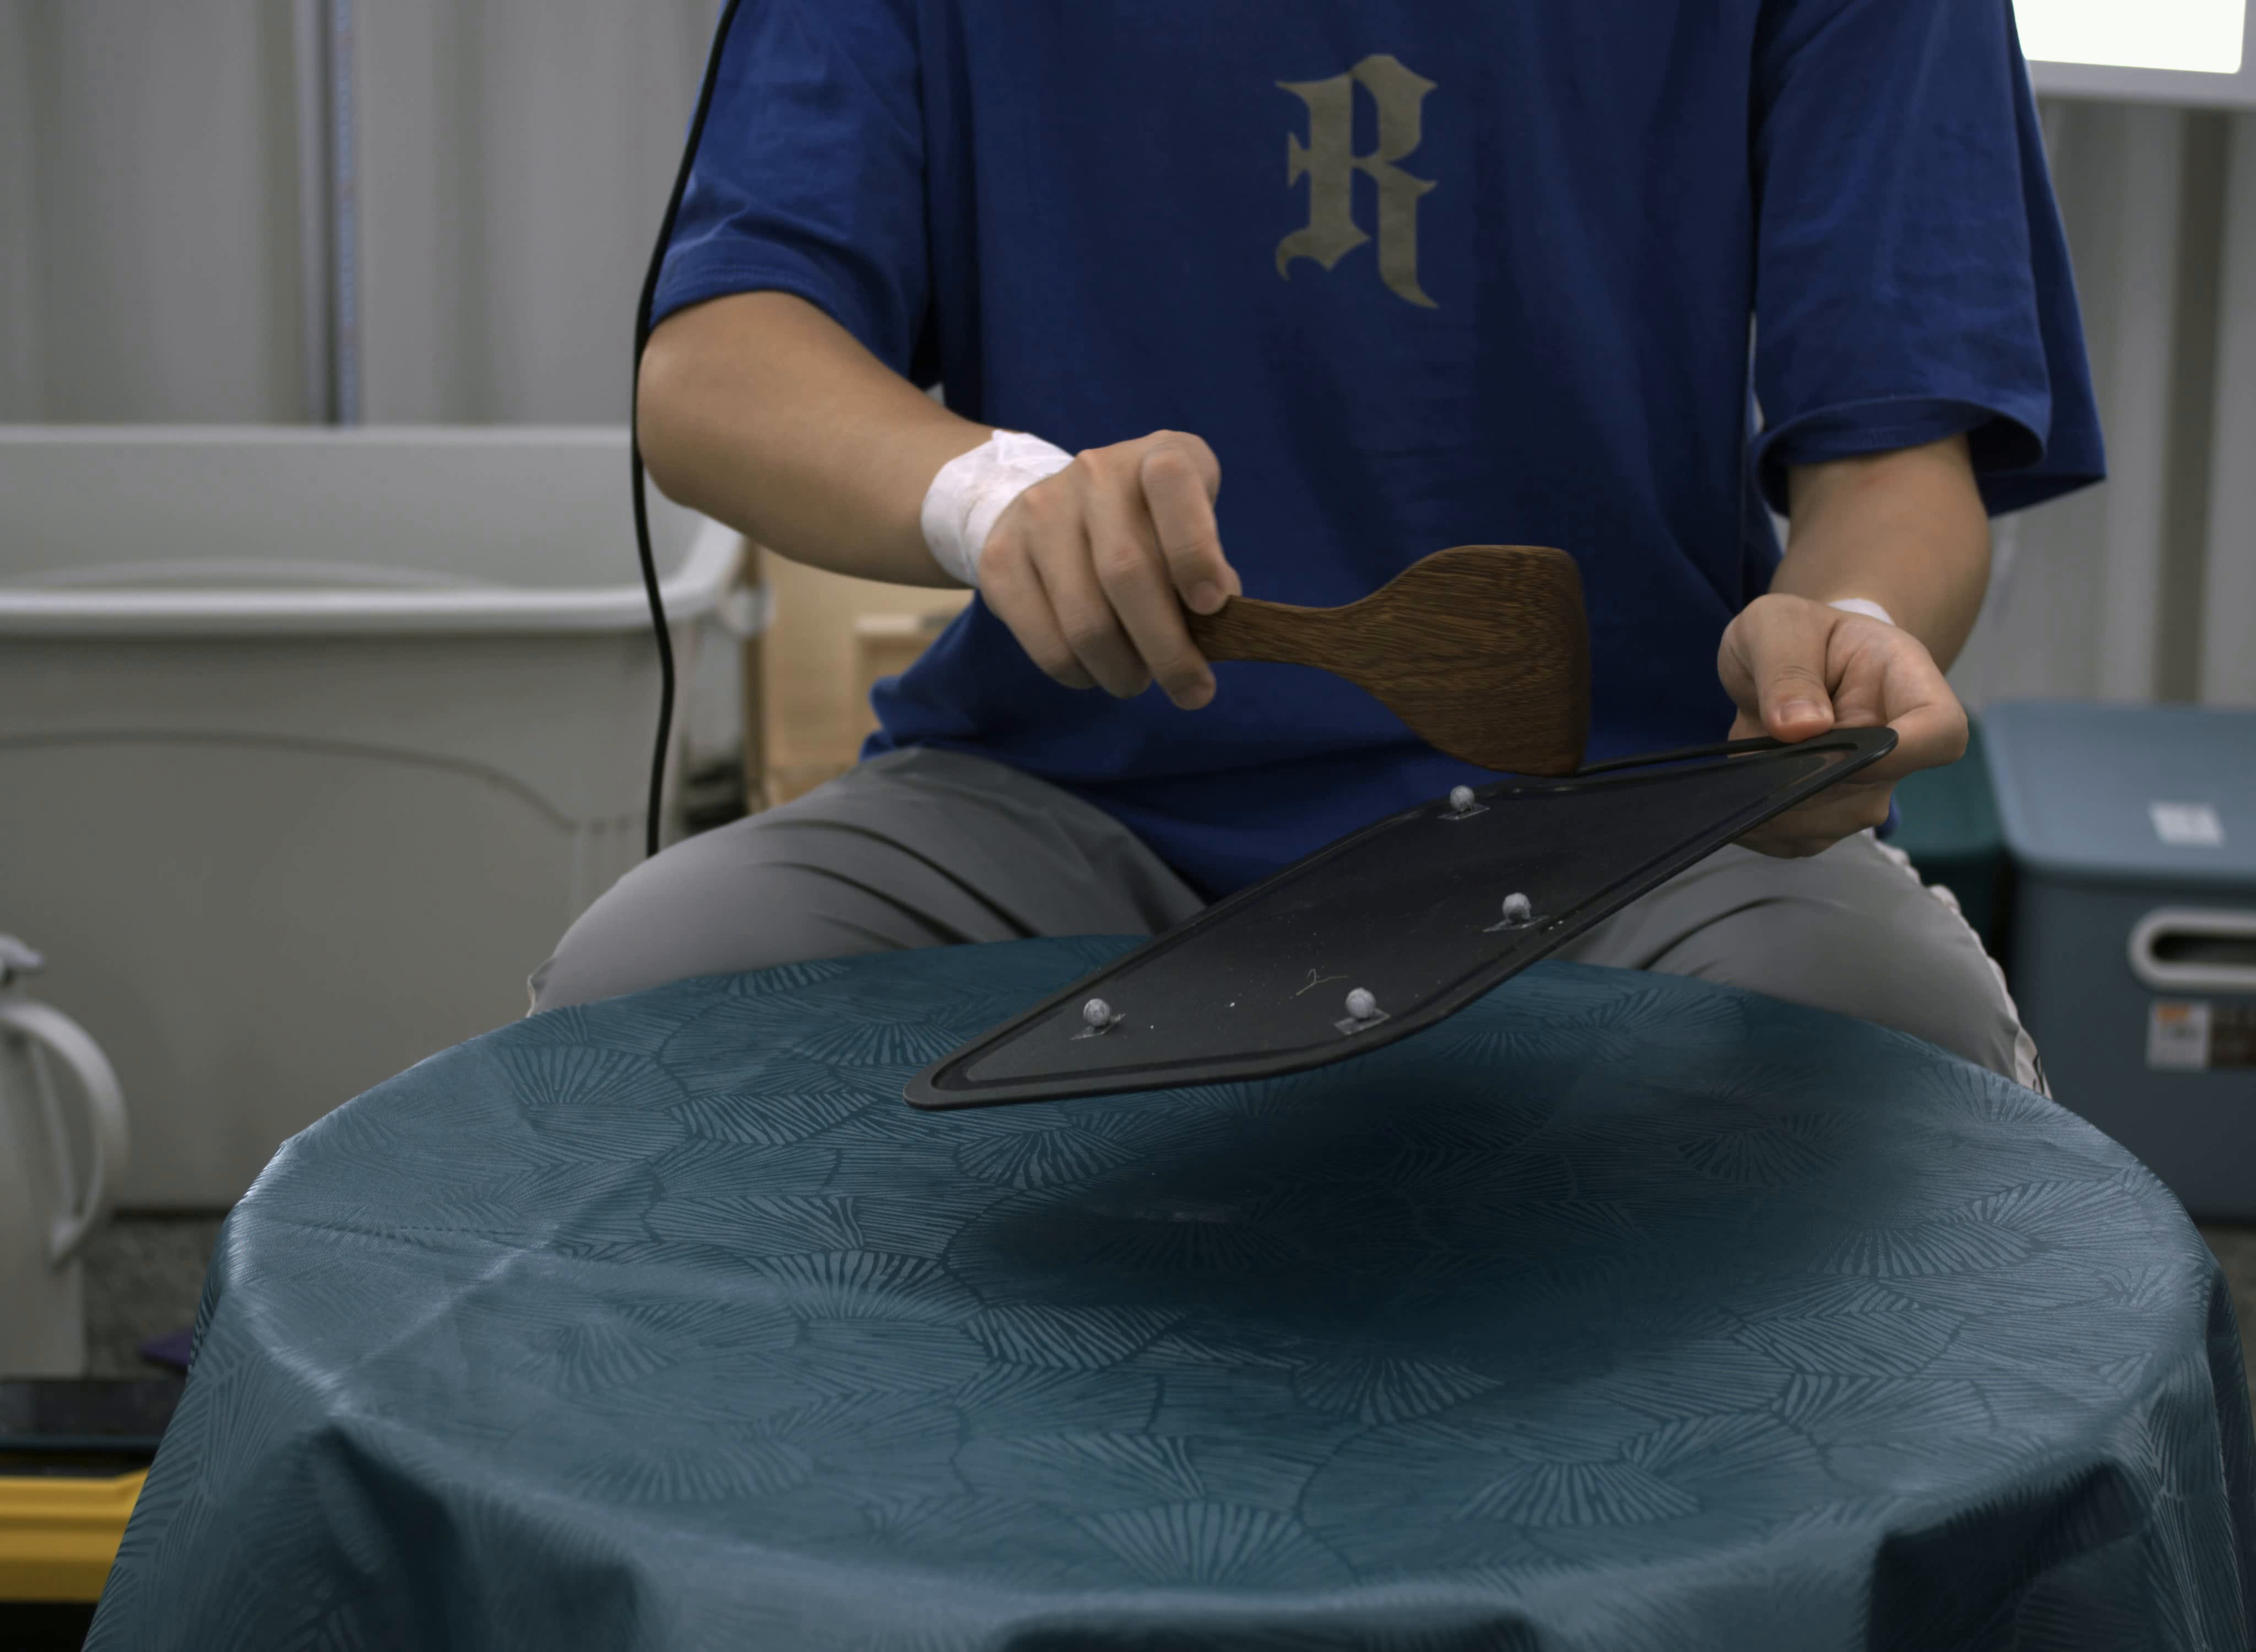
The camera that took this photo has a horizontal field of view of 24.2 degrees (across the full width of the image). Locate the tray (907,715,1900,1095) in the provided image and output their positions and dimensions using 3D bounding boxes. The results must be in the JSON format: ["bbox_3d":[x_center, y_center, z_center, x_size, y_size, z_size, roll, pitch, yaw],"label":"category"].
[{"bbox_3d":[0.091,0.019,1.610,0.209,0.010,0.326,-8,13,44],"label":"tray"}]

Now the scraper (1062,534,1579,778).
[{"bbox_3d":[0.057,-0.061,1.670,0.208,0.076,0.011,8,21,41],"label":"scraper"}]
